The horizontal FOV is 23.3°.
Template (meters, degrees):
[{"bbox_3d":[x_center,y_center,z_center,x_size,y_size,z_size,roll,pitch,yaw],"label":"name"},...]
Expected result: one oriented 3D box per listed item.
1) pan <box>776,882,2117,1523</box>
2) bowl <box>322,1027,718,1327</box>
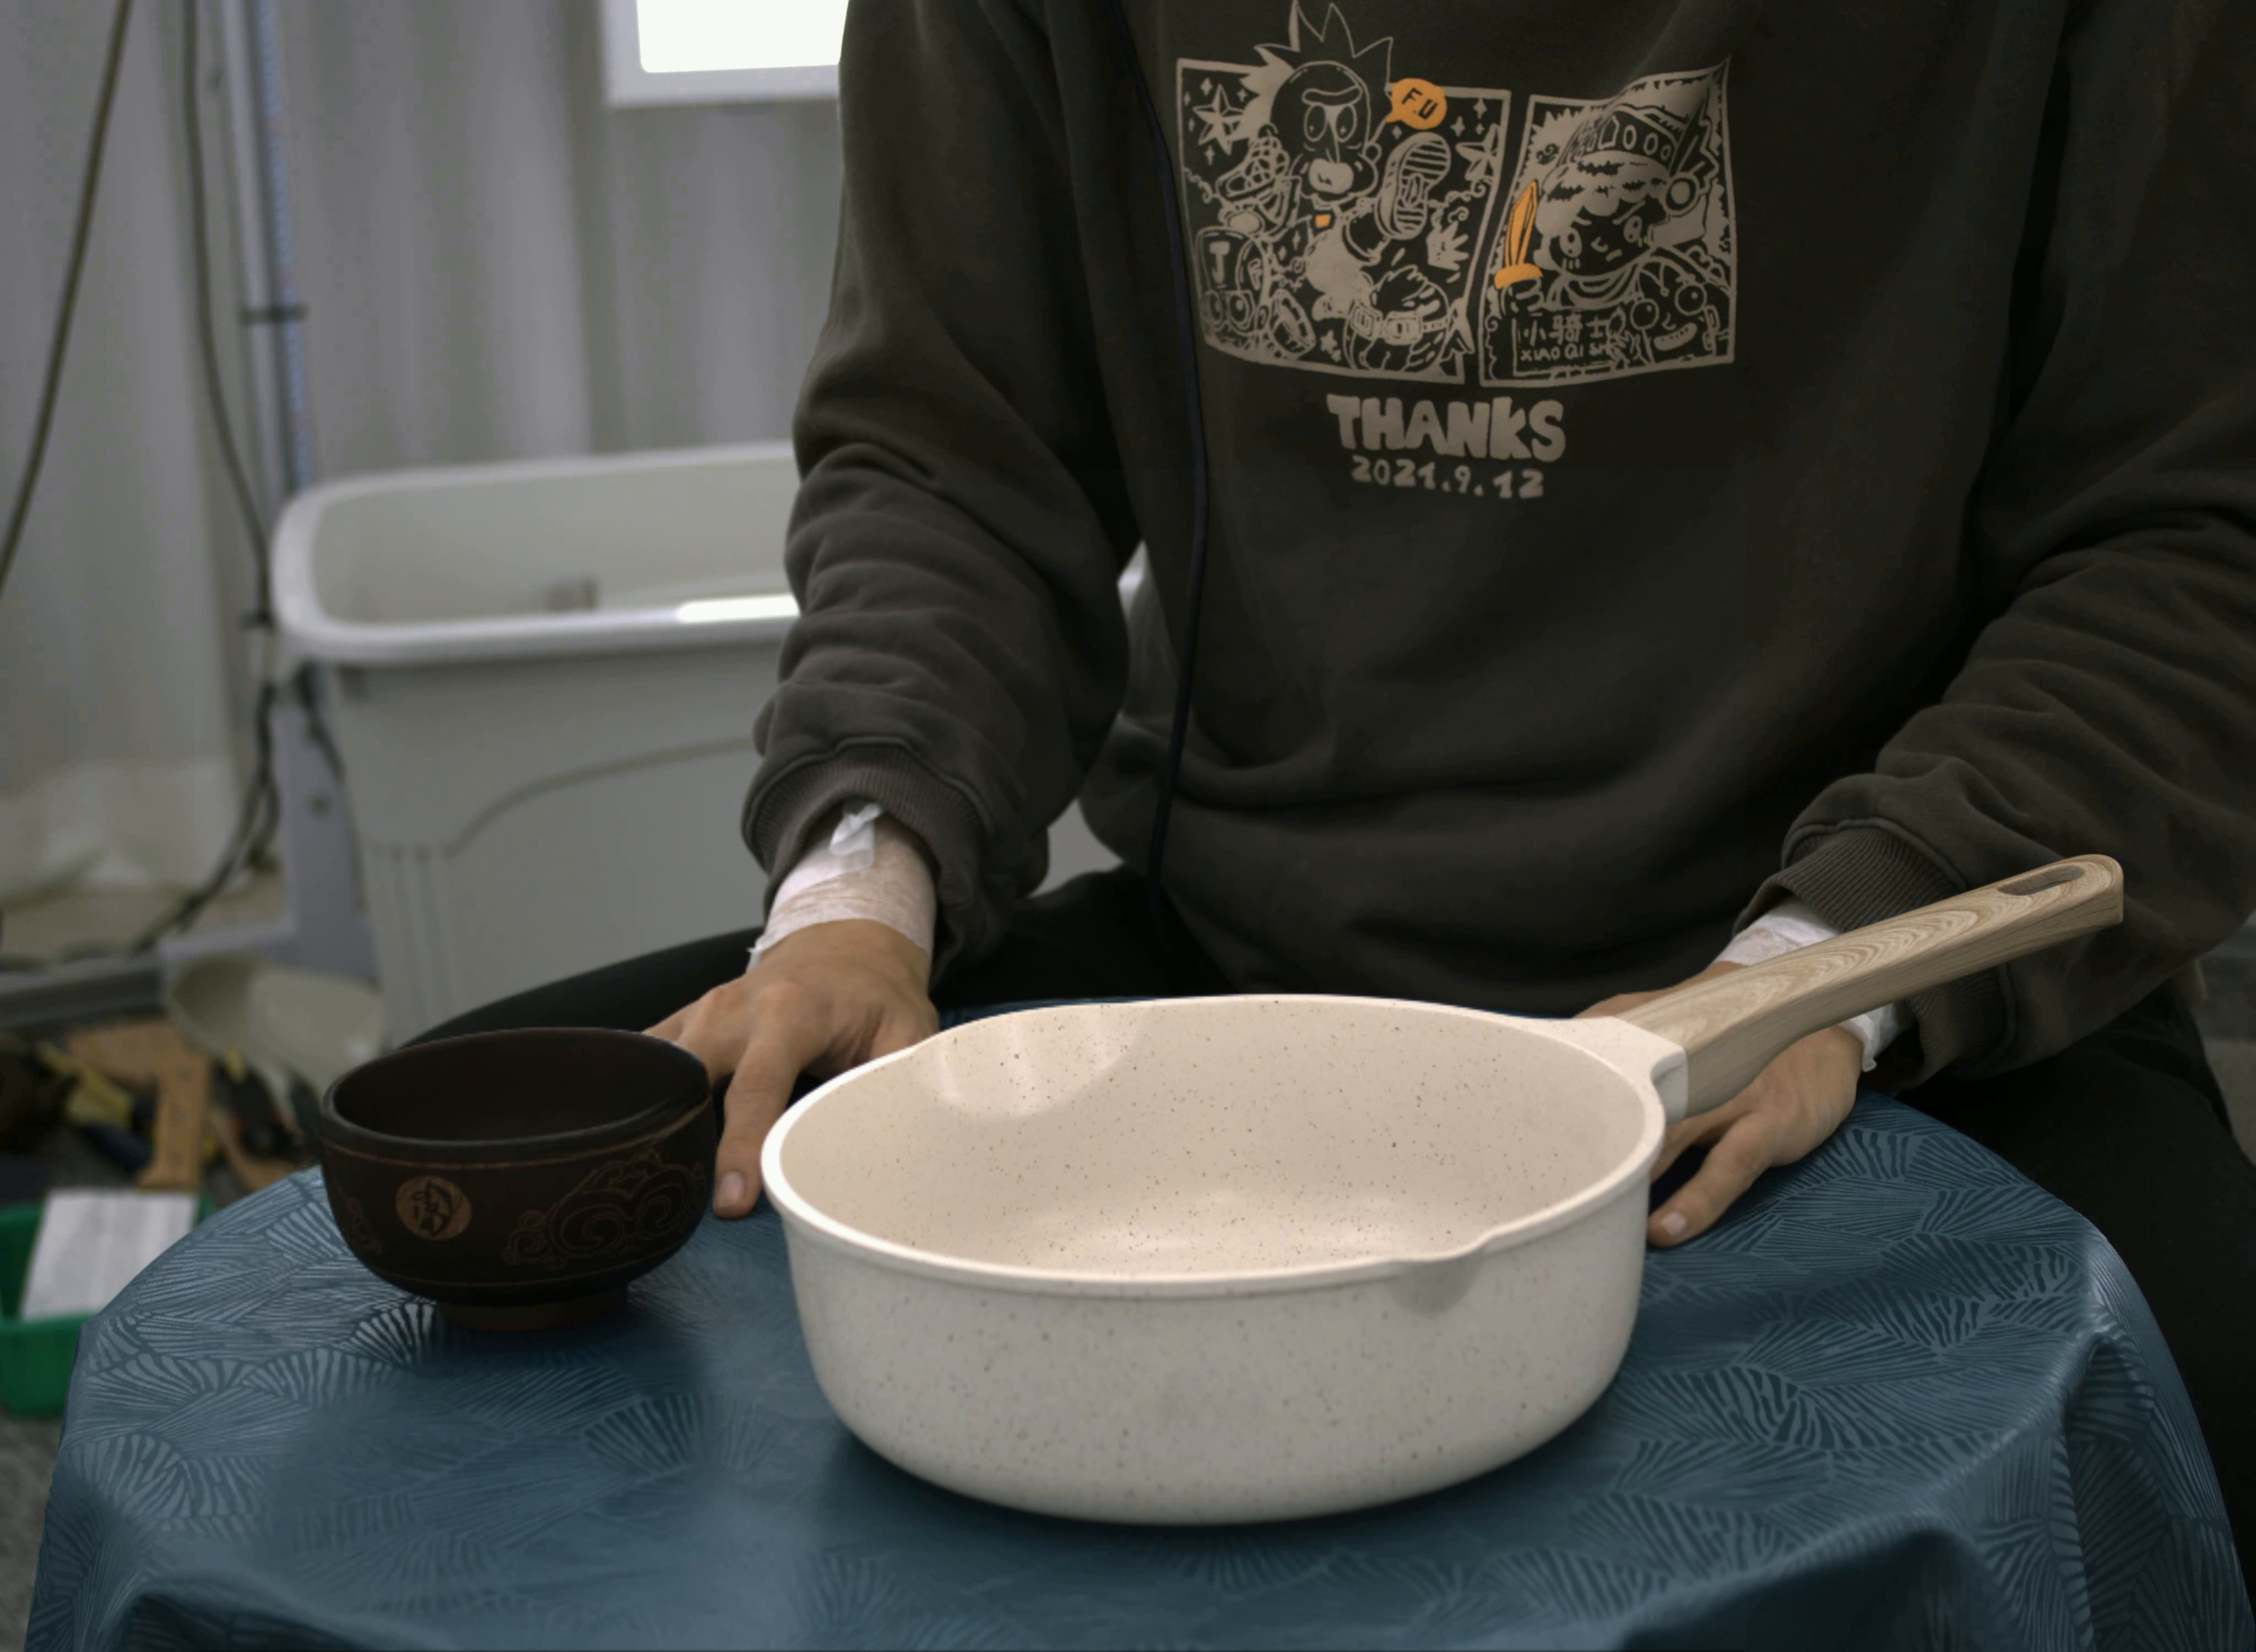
[{"bbox_3d":[0.109,0.101,1.564,0.433,0.101,0.265,-10,15,-27],"label":"pan"},{"bbox_3d":[-0.181,0.109,1.642,0.117,0.069,0.119,-3,13,0],"label":"bowl"}]
